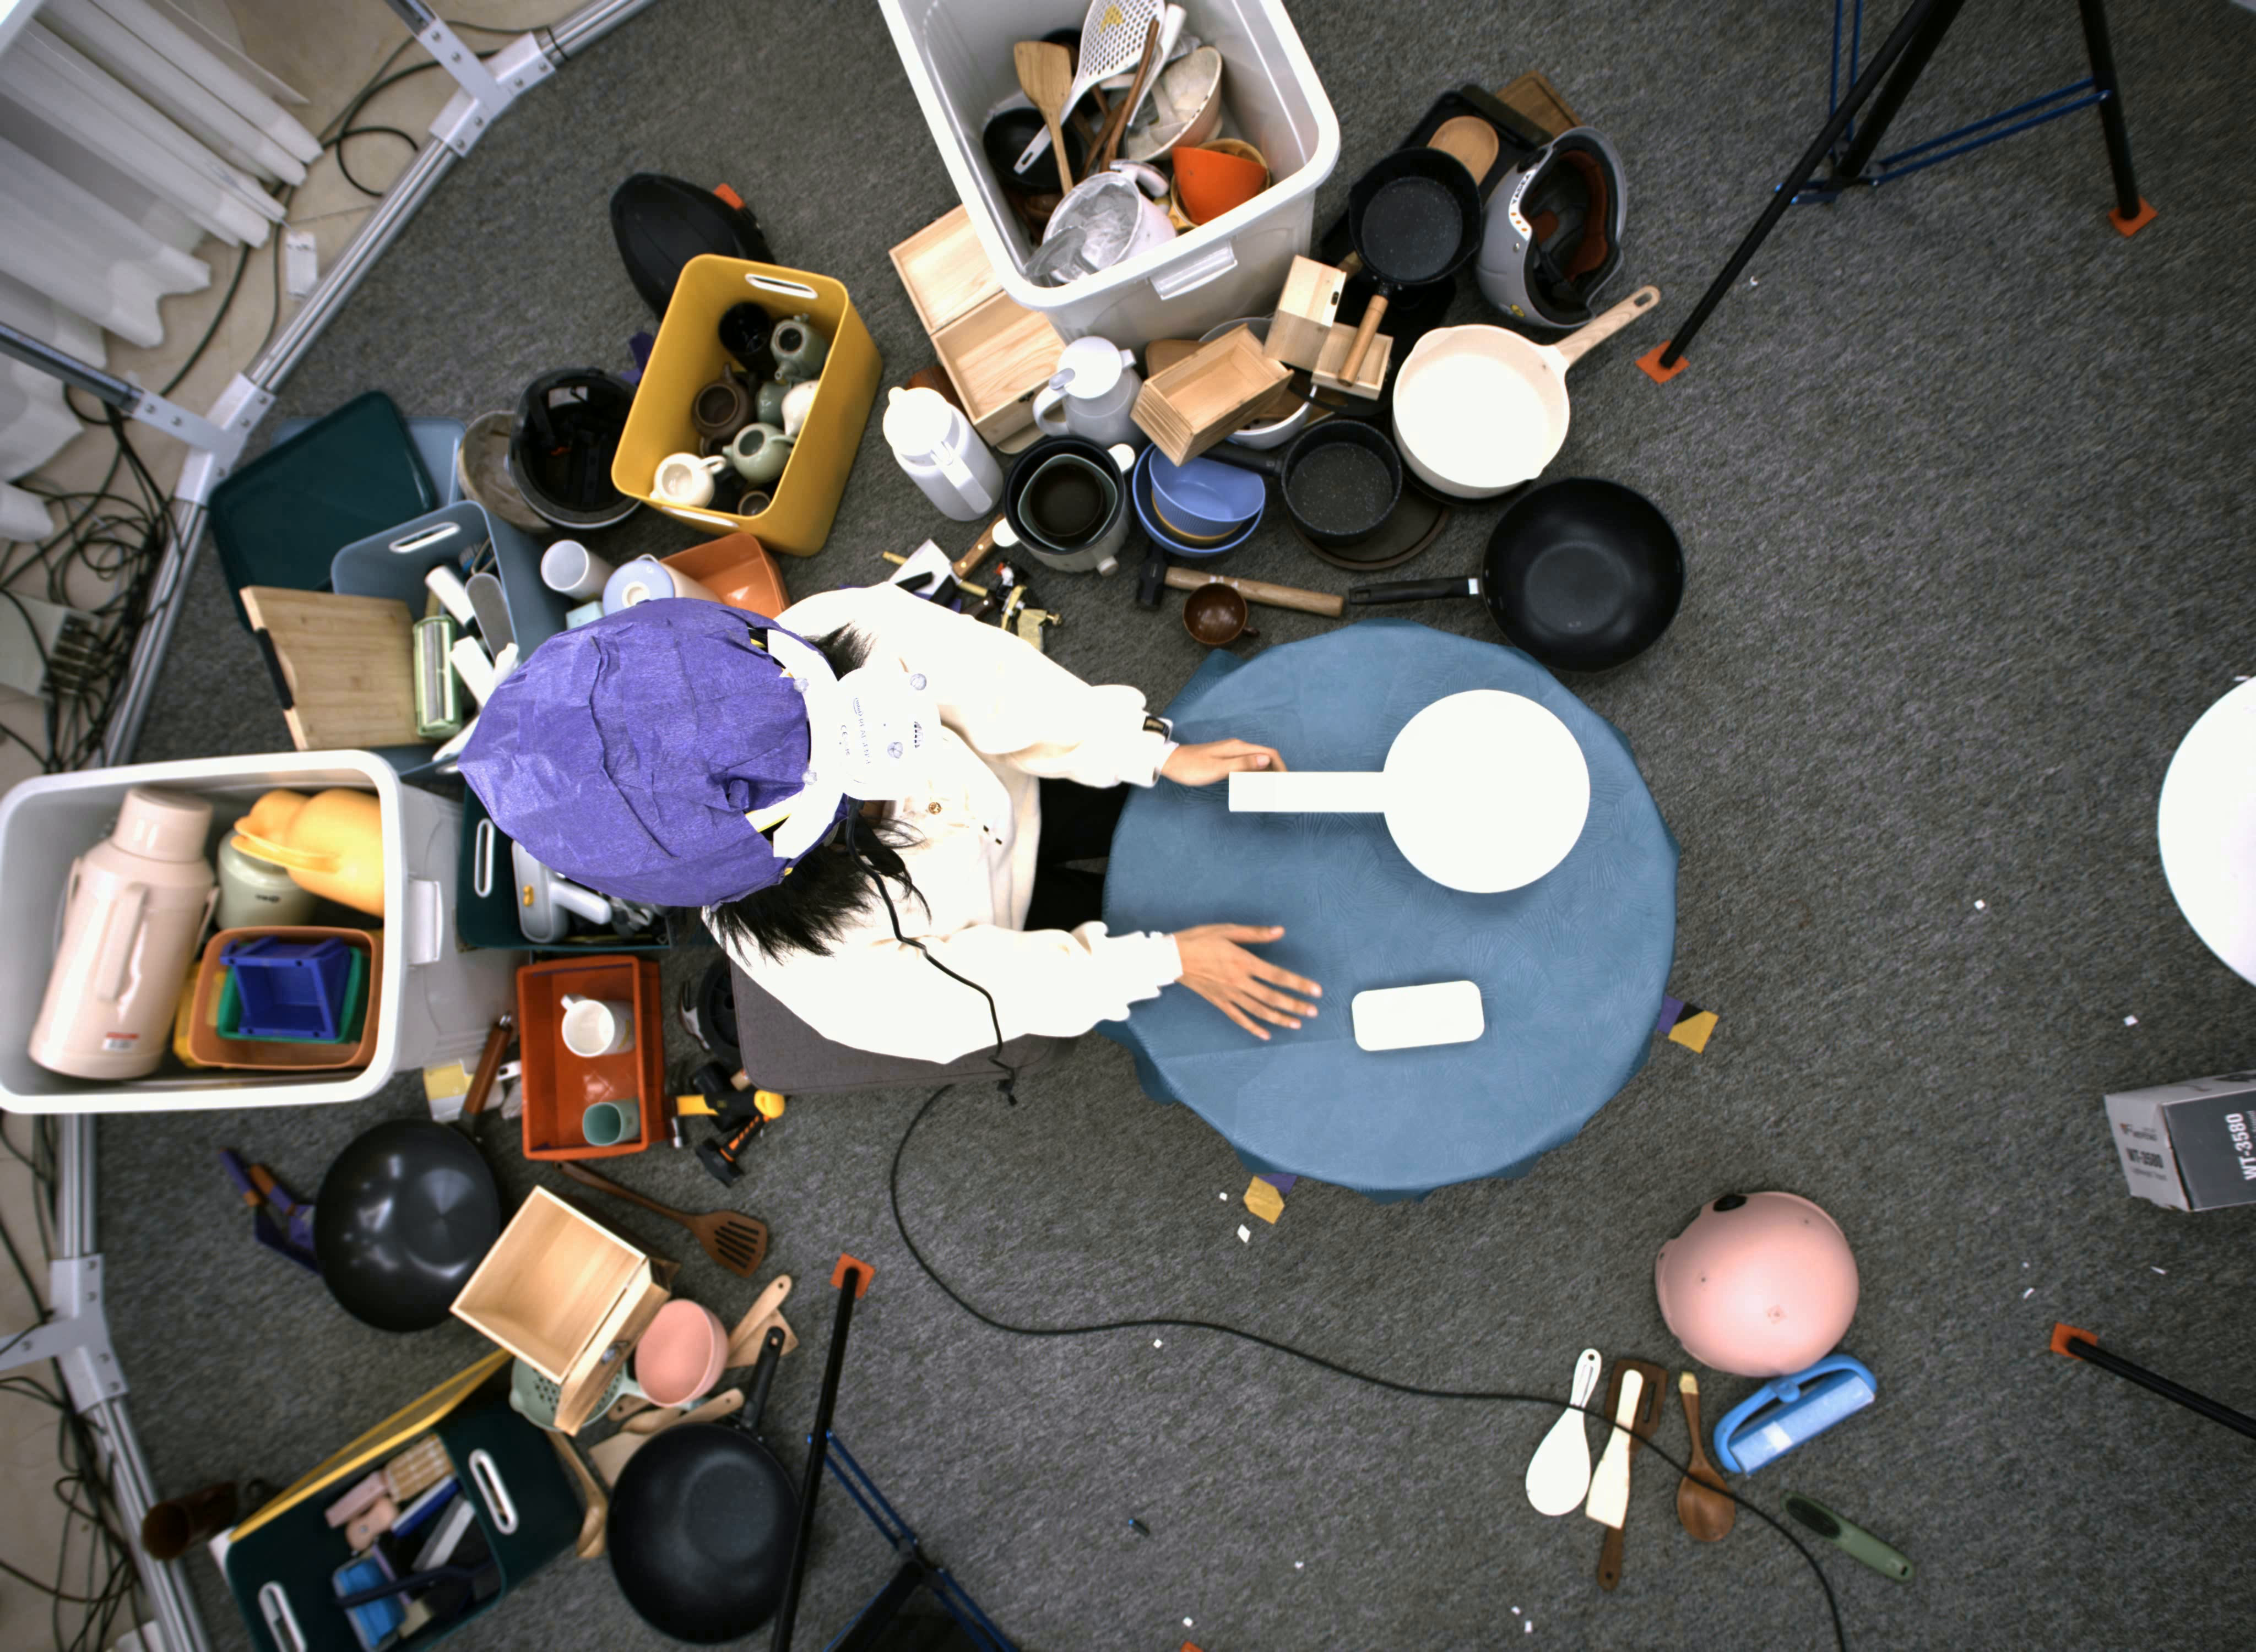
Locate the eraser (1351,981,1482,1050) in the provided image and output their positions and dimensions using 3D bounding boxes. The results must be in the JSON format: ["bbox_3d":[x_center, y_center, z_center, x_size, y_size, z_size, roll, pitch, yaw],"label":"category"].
[{"bbox_3d":[0.299,0.194,1.433,0.132,0.034,0.063,-7,82,10],"label":"eraser"}]

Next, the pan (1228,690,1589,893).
[{"bbox_3d":[0.284,-0.032,1.413,0.356,0.102,0.200,0,85,13],"label":"pan"}]
